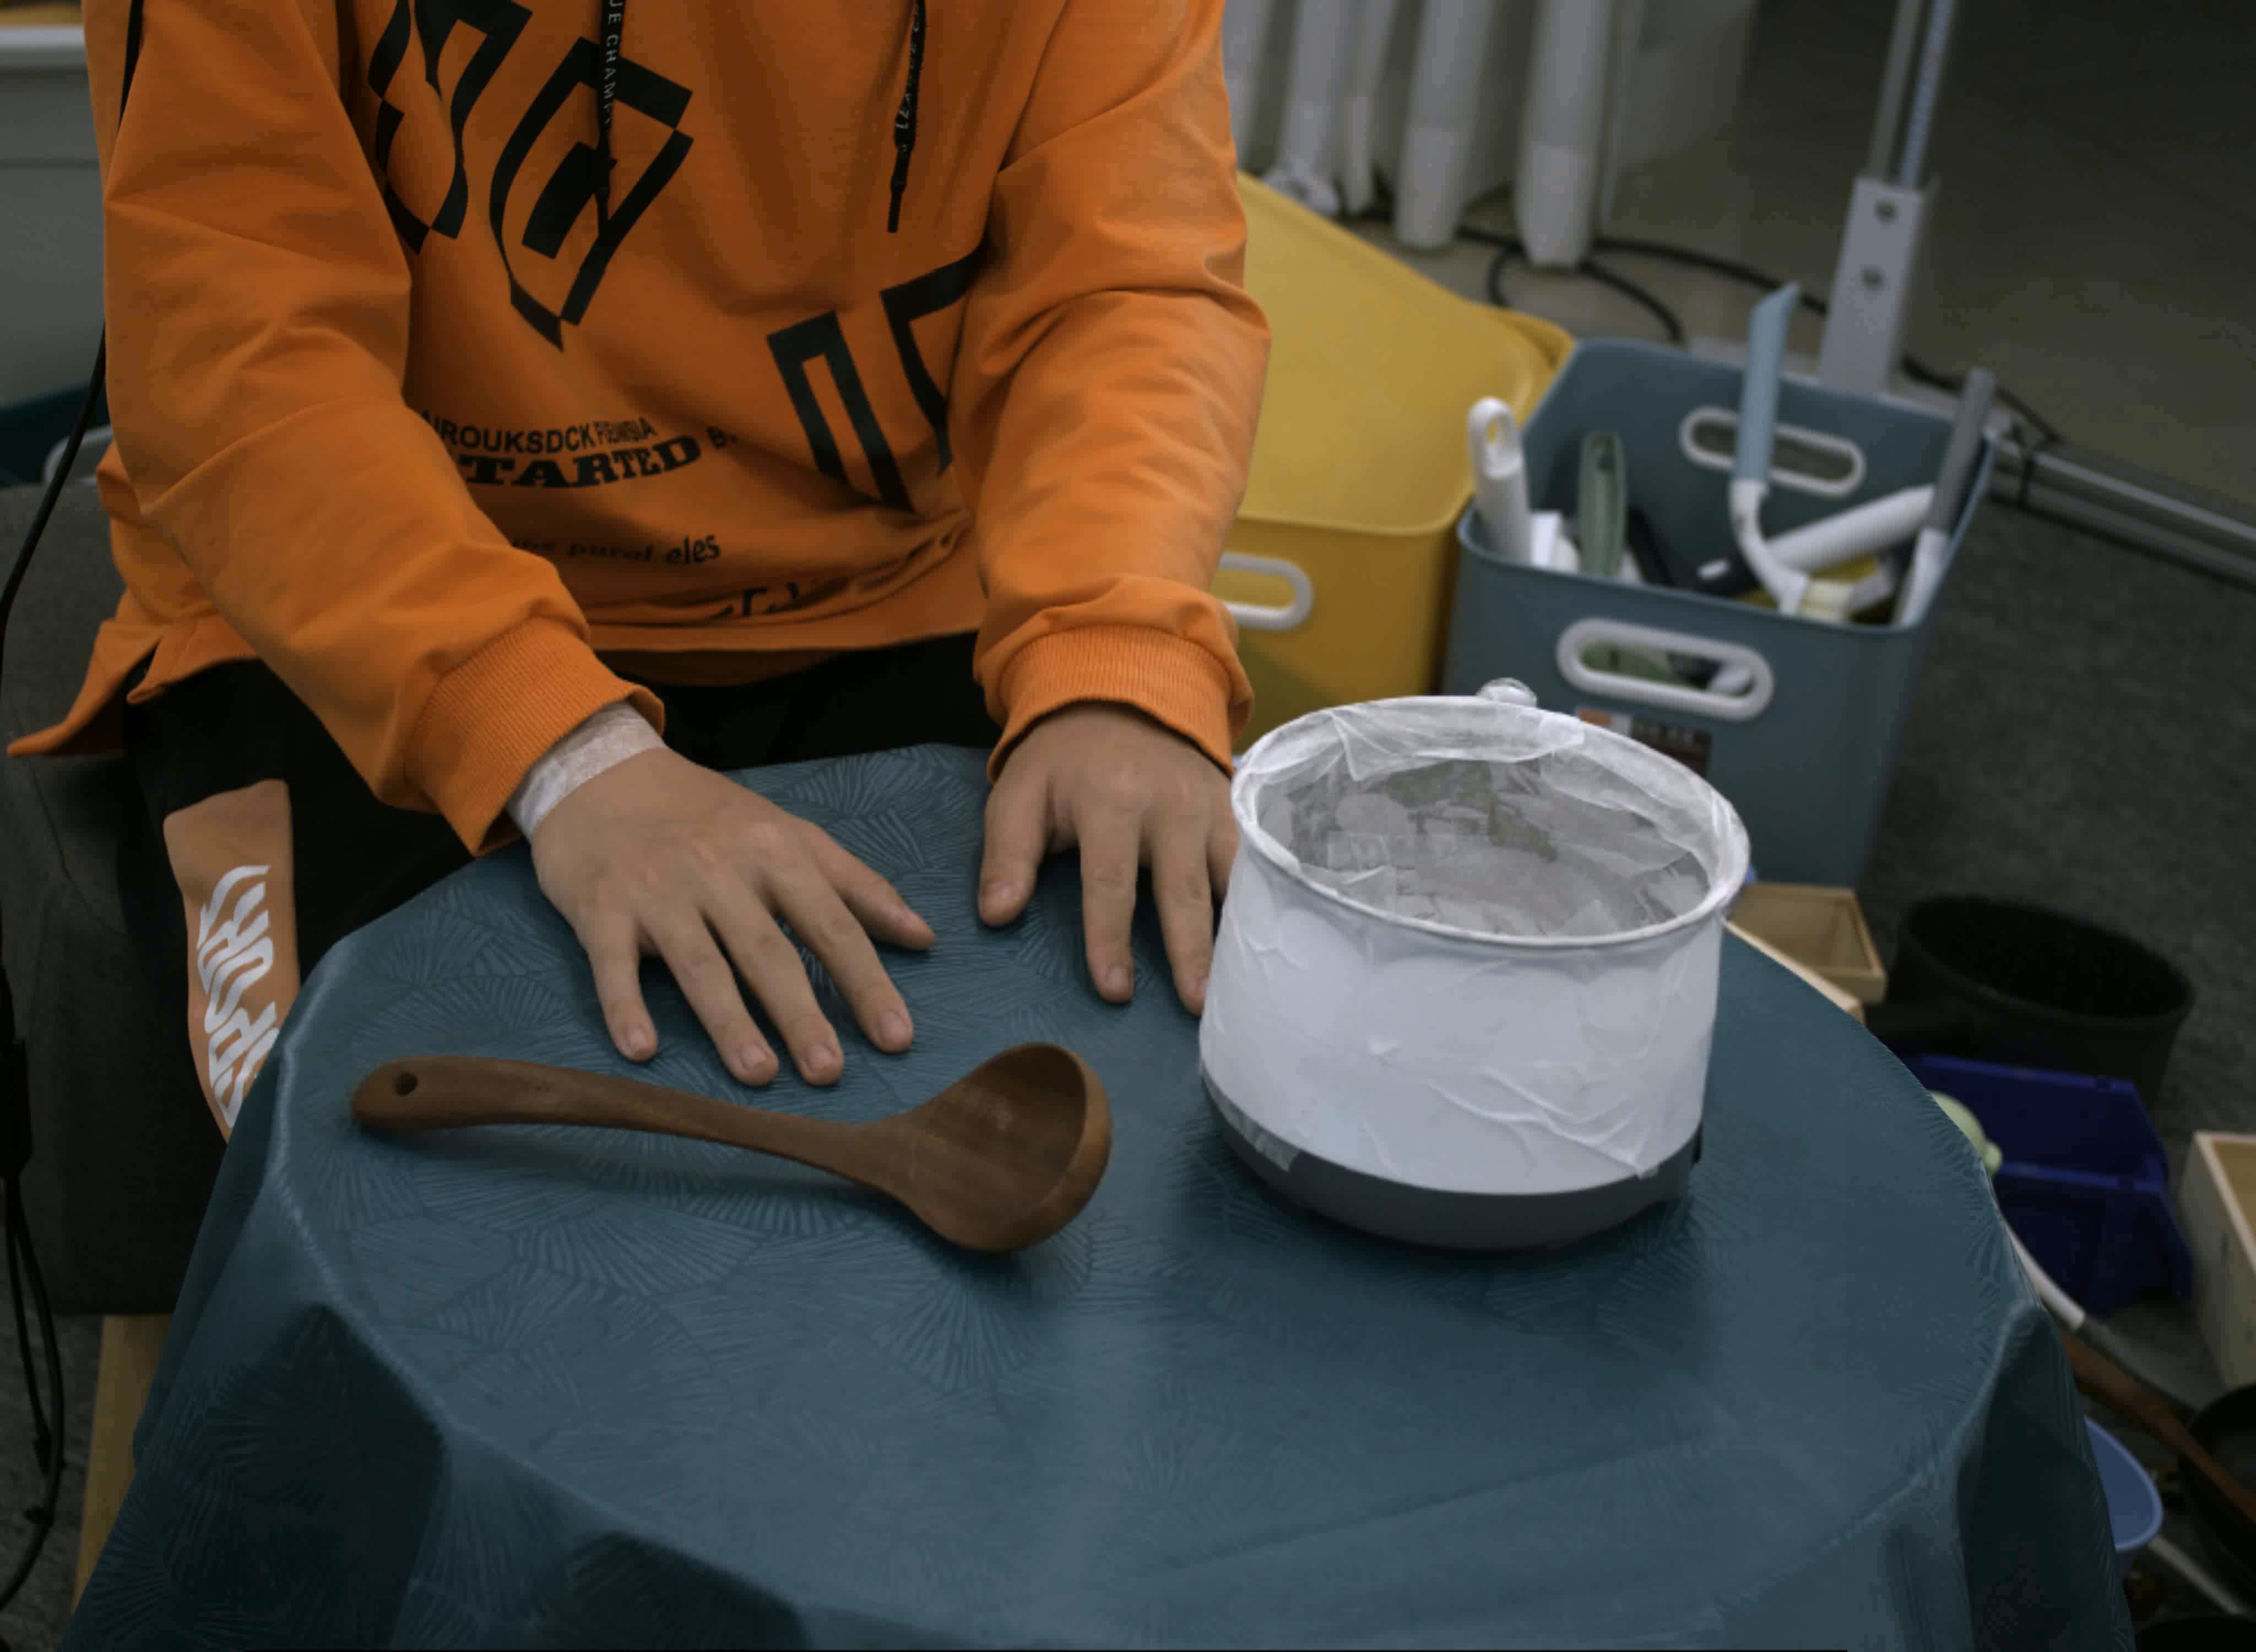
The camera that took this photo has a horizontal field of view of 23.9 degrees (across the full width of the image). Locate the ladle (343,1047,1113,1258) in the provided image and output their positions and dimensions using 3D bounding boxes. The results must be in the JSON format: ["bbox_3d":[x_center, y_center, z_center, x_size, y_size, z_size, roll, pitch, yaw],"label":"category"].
[{"bbox_3d":[-0.134,0.094,1.764,0.260,0.065,0.077,9,52,3],"label":"ladle"}]

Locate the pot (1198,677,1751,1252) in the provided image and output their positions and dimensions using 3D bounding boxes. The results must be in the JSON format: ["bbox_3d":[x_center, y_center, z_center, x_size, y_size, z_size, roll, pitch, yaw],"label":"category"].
[{"bbox_3d":[0.118,0.040,1.843,0.178,0.136,0.235,8,27,2],"label":"pot"}]
